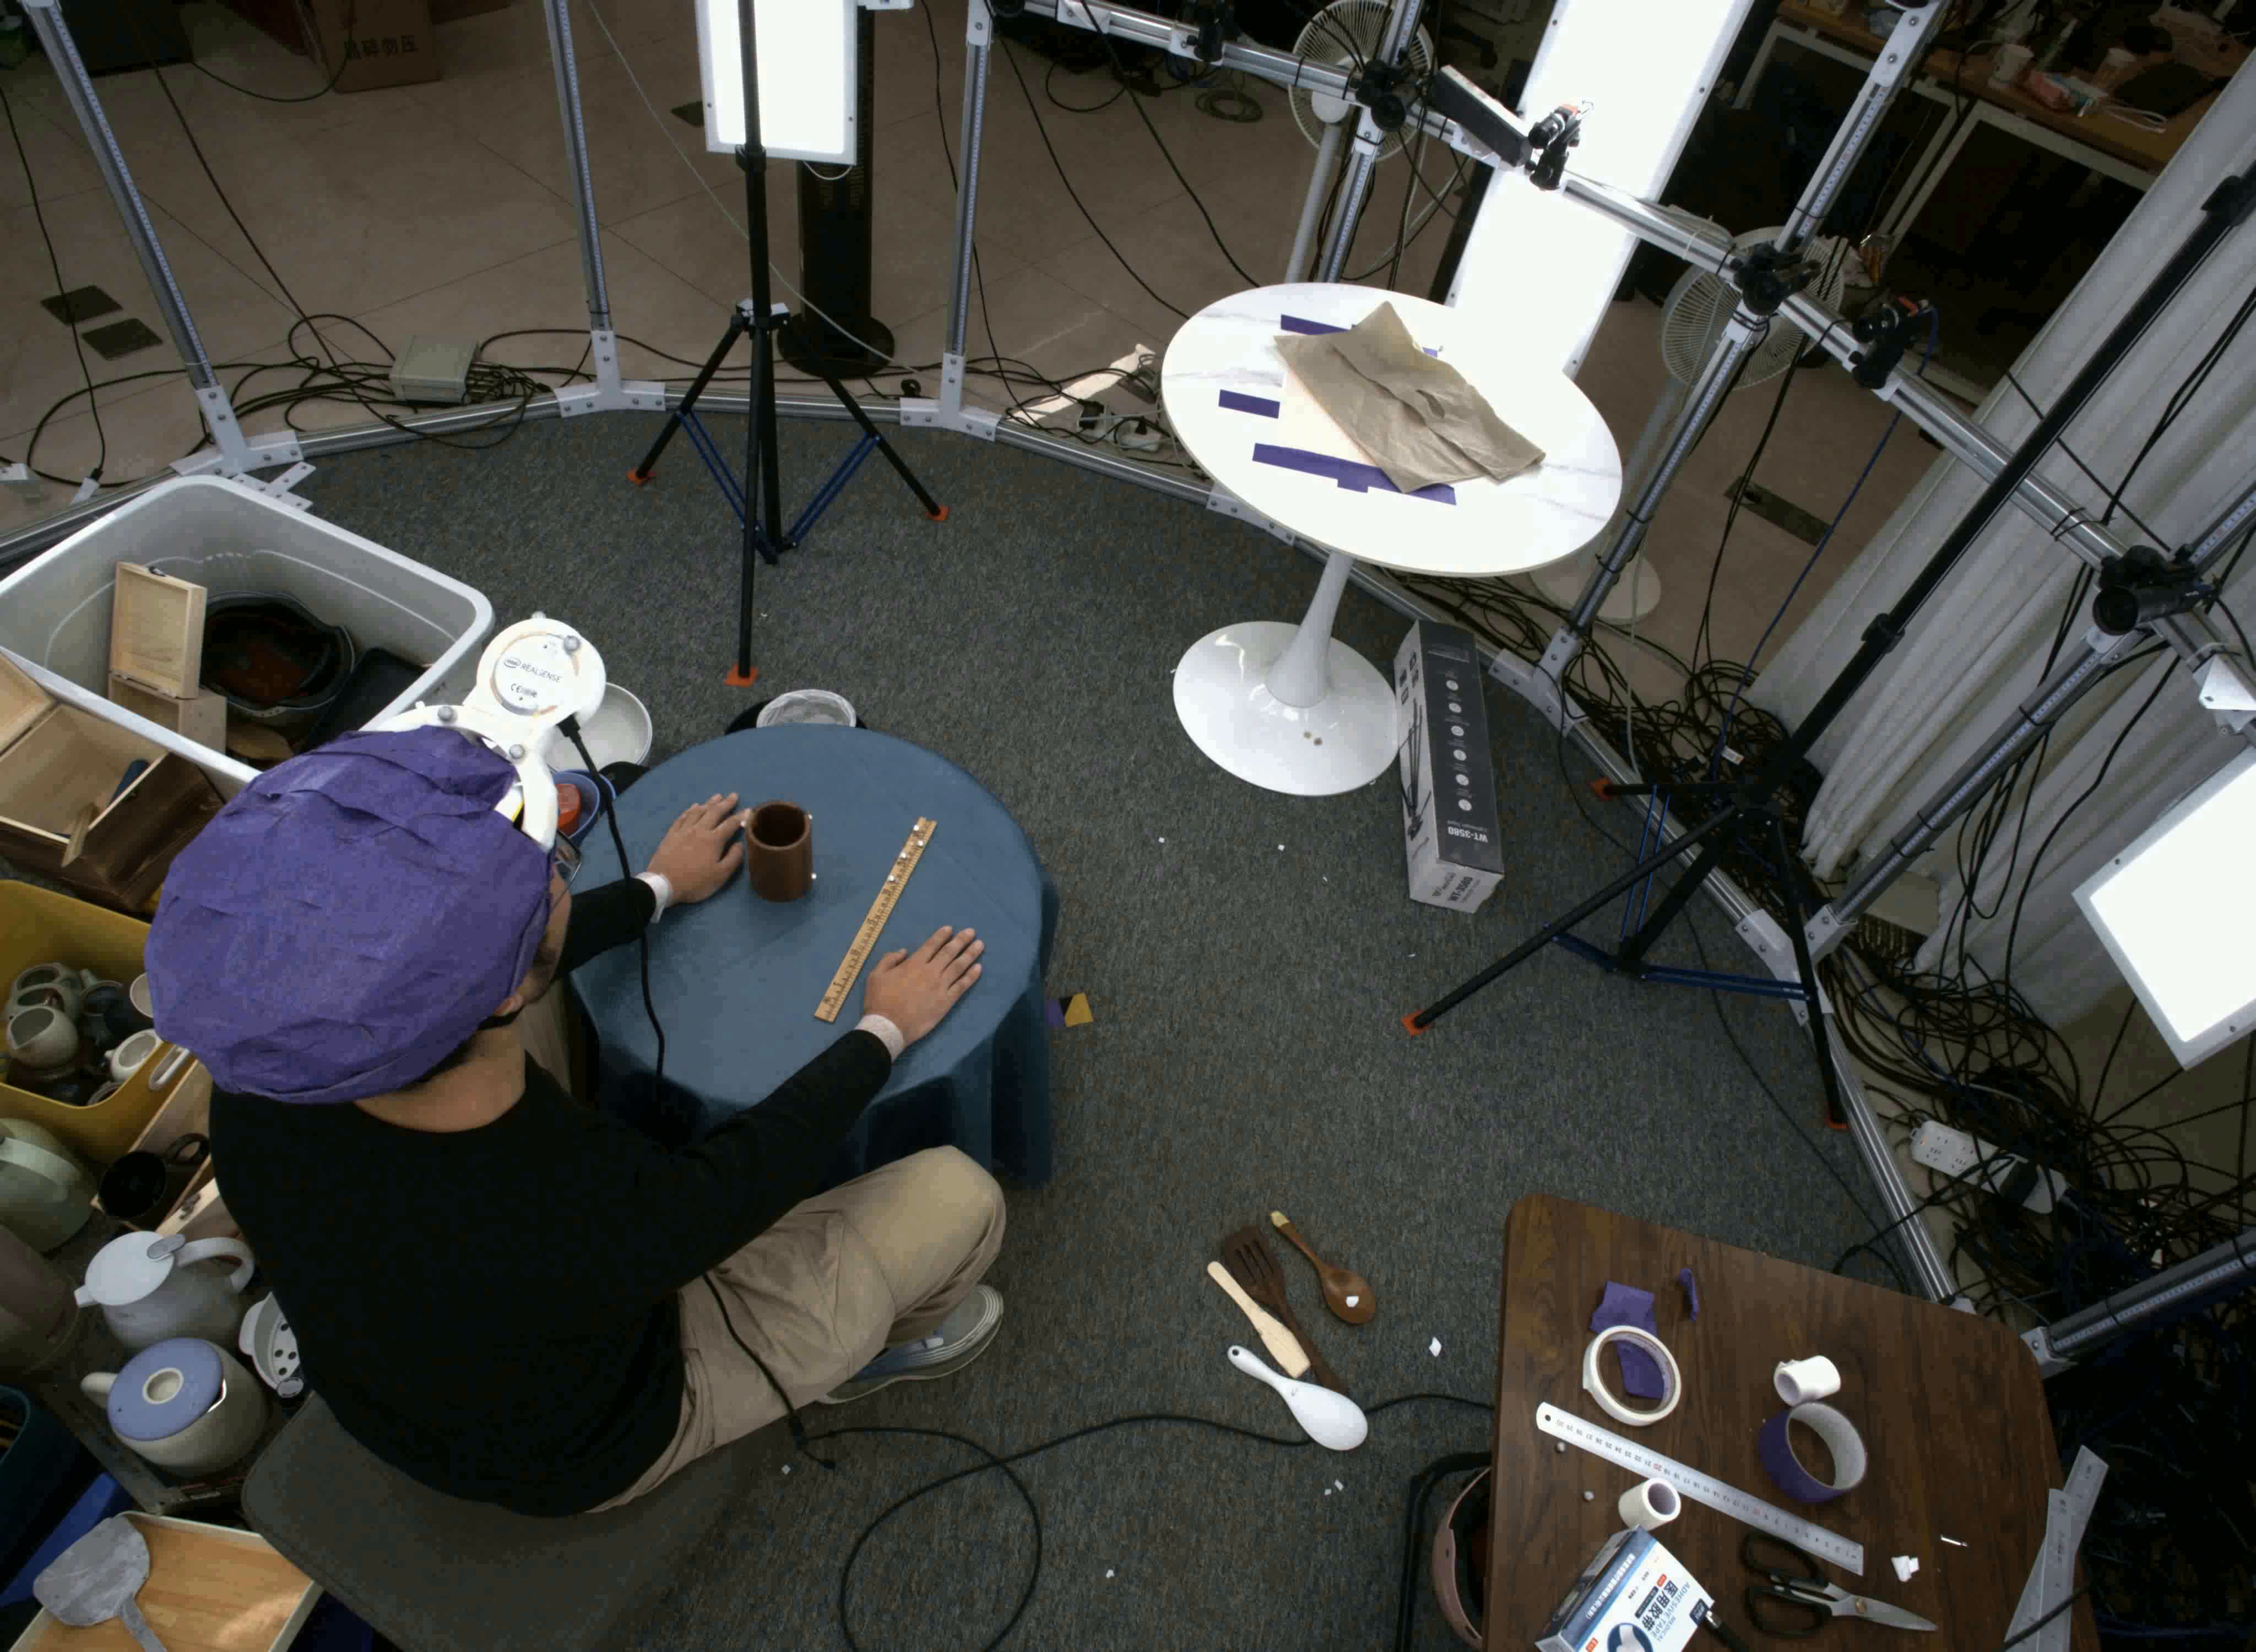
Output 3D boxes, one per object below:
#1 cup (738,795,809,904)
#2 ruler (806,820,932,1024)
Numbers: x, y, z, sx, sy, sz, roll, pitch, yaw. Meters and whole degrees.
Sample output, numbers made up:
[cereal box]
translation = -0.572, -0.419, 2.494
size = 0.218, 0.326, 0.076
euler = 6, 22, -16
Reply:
[cup]
translation = -0.441, 0.028, 1.618
size = 0.087, 0.121, 0.086
euler = 6, 51, -6
[ruler]
translation = -0.325, 0.110, 1.656
size = 0.027, 0.023, 0.328
euler = 18, 51, 6
